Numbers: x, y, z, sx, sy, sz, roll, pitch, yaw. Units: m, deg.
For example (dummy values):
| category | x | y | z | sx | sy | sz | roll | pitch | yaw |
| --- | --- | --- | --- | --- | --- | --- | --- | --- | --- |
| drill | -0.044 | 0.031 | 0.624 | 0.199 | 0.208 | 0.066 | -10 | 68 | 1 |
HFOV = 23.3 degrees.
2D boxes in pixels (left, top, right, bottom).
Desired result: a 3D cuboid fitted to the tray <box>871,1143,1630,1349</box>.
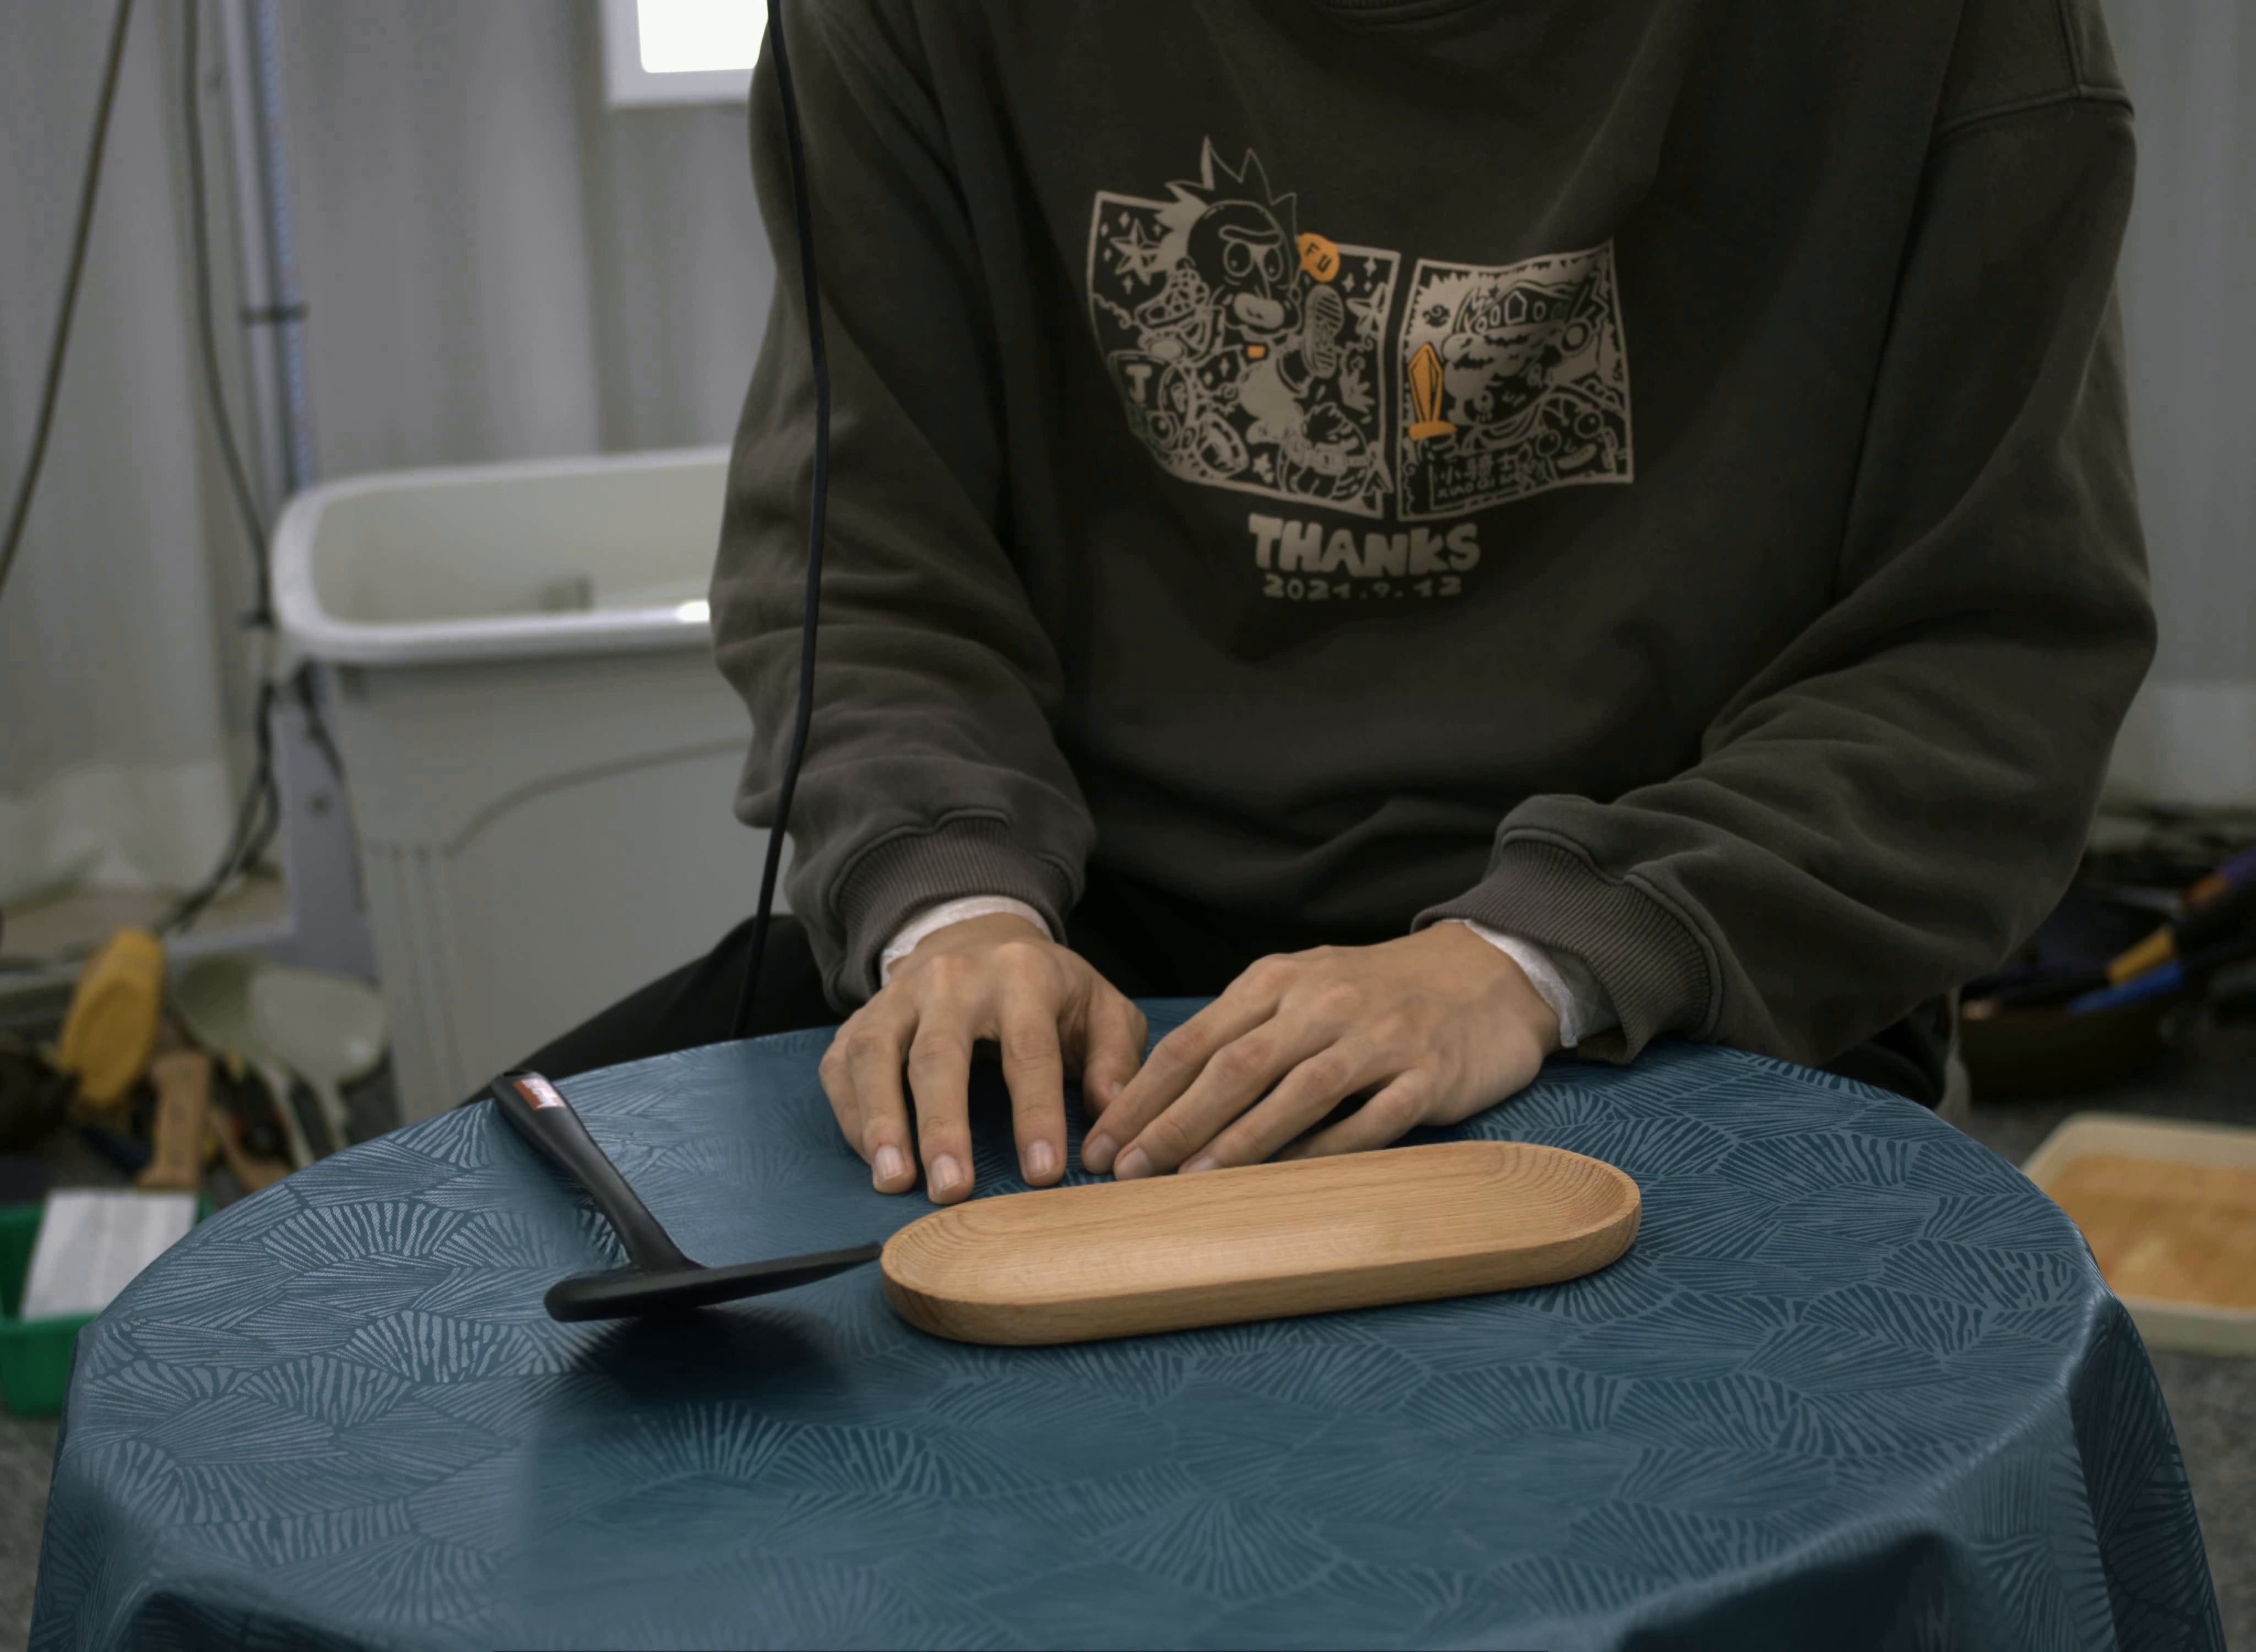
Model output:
| category | x | y | z | sx | sy | sz | roll | pitch | yaw |
| --- | --- | --- | --- | --- | --- | --- | --- | --- | --- |
| tray | 0.038 | 0.126 | 1.641 | 0.230 | 0.020 | 0.102 | -7 | 15 | -10 |

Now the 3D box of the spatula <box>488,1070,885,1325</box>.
| category | x | y | z | sx | sy | sz | roll | pitch | yaw |
| --- | --- | --- | --- | --- | --- | --- | --- | --- | --- |
| spatula | -0.161 | 0.110 | 1.703 | 0.099 | 0.040 | 0.329 | -6 | 15 | -17 |
